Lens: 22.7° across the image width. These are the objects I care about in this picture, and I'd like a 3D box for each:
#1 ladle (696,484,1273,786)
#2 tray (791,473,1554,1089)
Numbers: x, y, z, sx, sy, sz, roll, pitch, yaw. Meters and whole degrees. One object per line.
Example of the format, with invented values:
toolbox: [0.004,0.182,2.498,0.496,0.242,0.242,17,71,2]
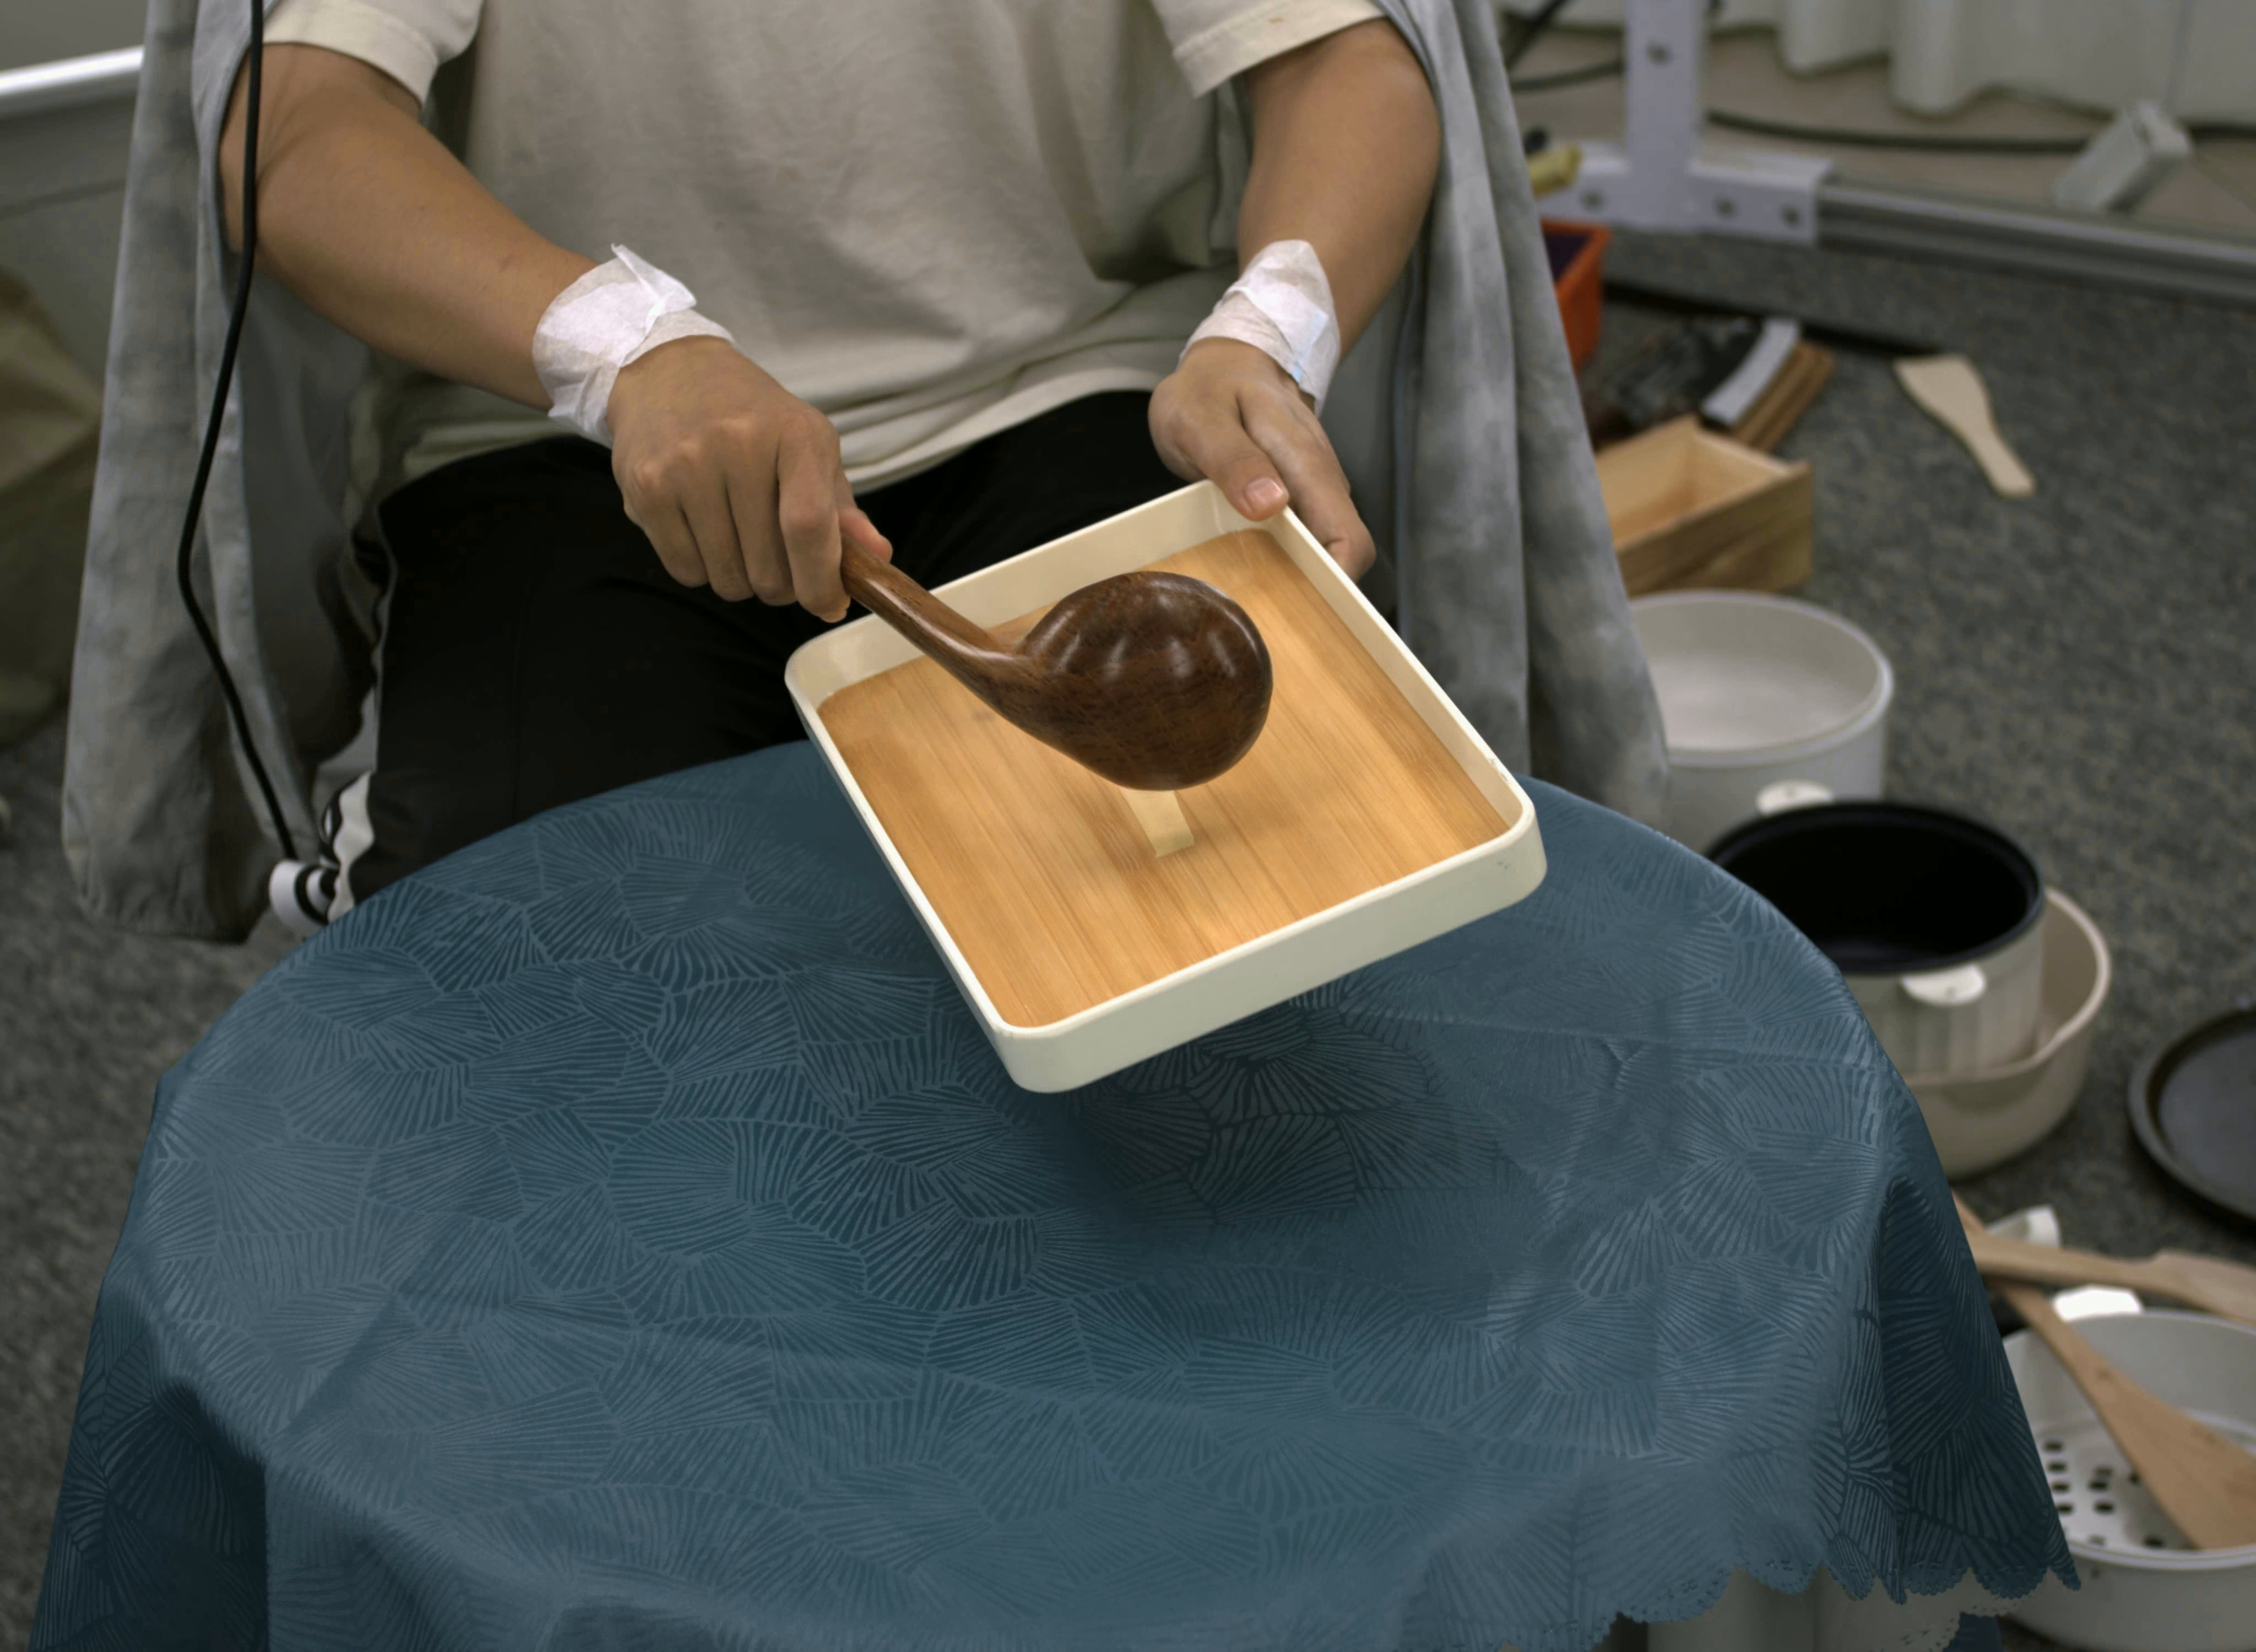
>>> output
ladle: [-0.051,-0.084,1.941,0.077,0.081,0.274,-21,30,-27]
tray: [0.009,-0.021,1.914,0.192,0.027,0.303,-22,31,-8]
